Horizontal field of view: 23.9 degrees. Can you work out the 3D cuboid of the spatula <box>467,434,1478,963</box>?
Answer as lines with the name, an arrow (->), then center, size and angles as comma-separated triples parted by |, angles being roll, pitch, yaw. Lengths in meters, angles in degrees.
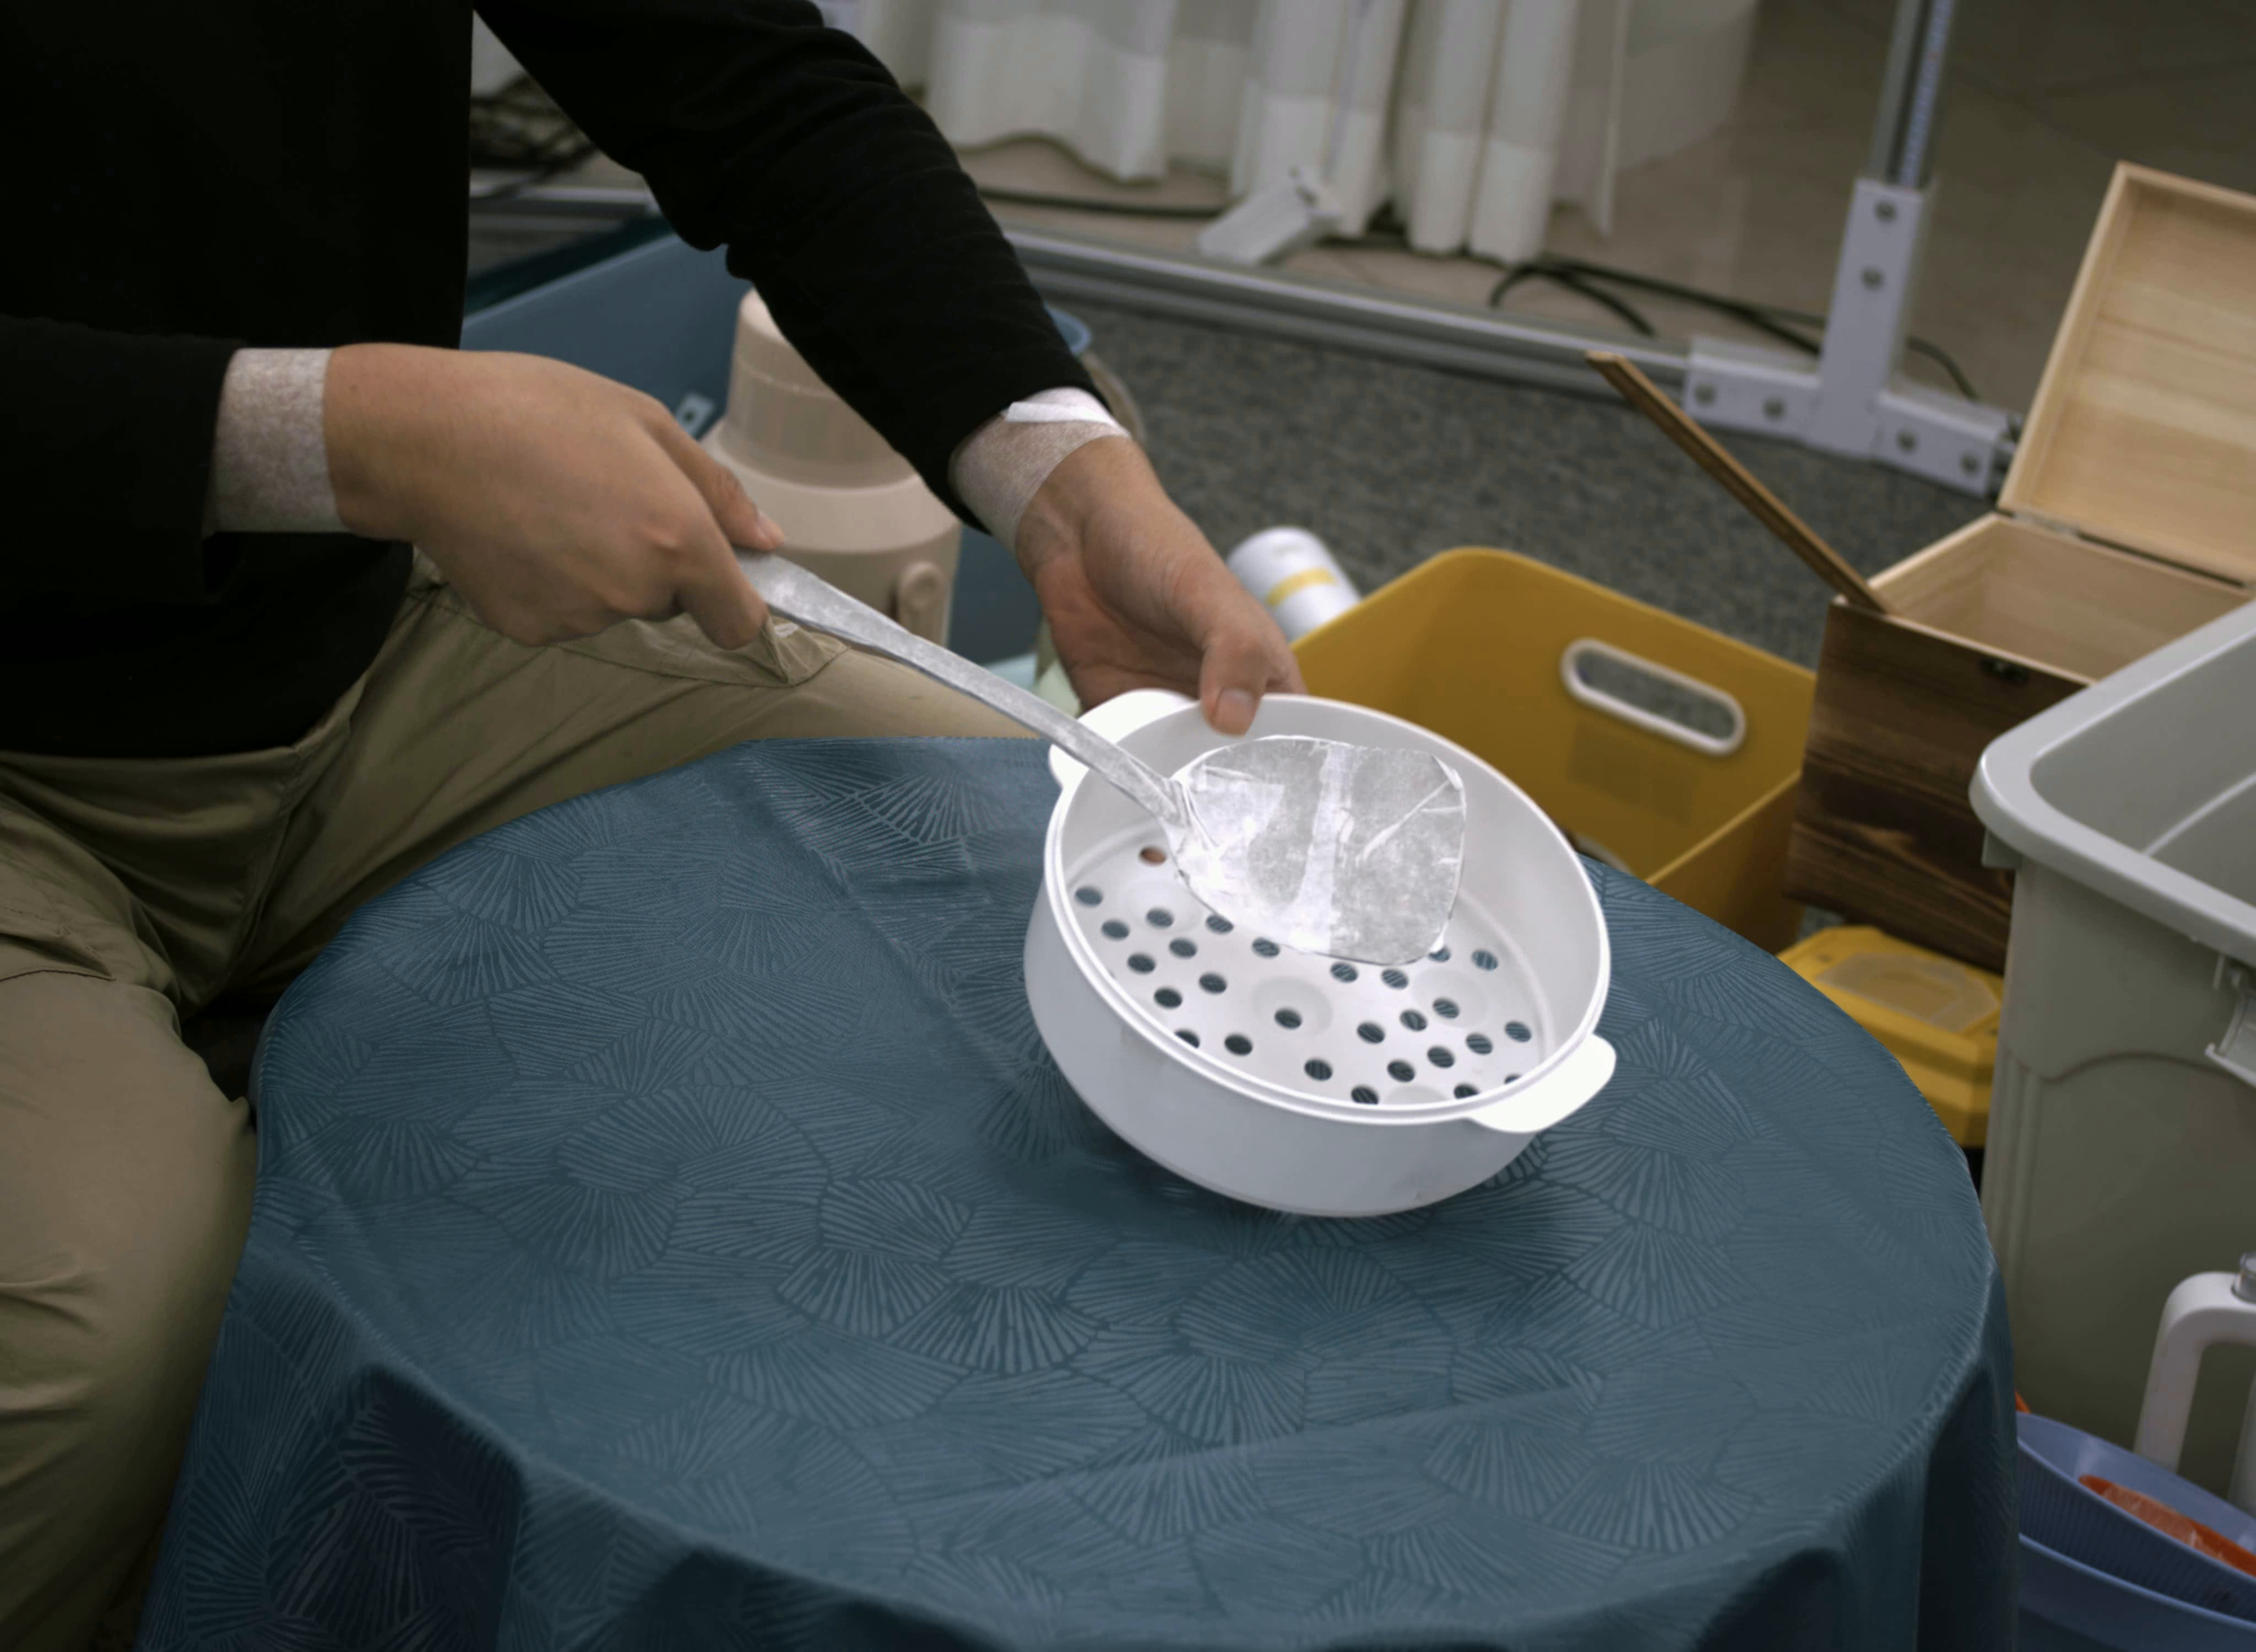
spatula -> -0.052, -0.053, 1.771 | 0.363, 0.045, 0.099 | 26, 50, -13

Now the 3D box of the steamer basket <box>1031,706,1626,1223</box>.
steamer basket -> 0.065, 0.050, 1.839 | 0.232, 0.069, 0.201 | 38, 45, 24
